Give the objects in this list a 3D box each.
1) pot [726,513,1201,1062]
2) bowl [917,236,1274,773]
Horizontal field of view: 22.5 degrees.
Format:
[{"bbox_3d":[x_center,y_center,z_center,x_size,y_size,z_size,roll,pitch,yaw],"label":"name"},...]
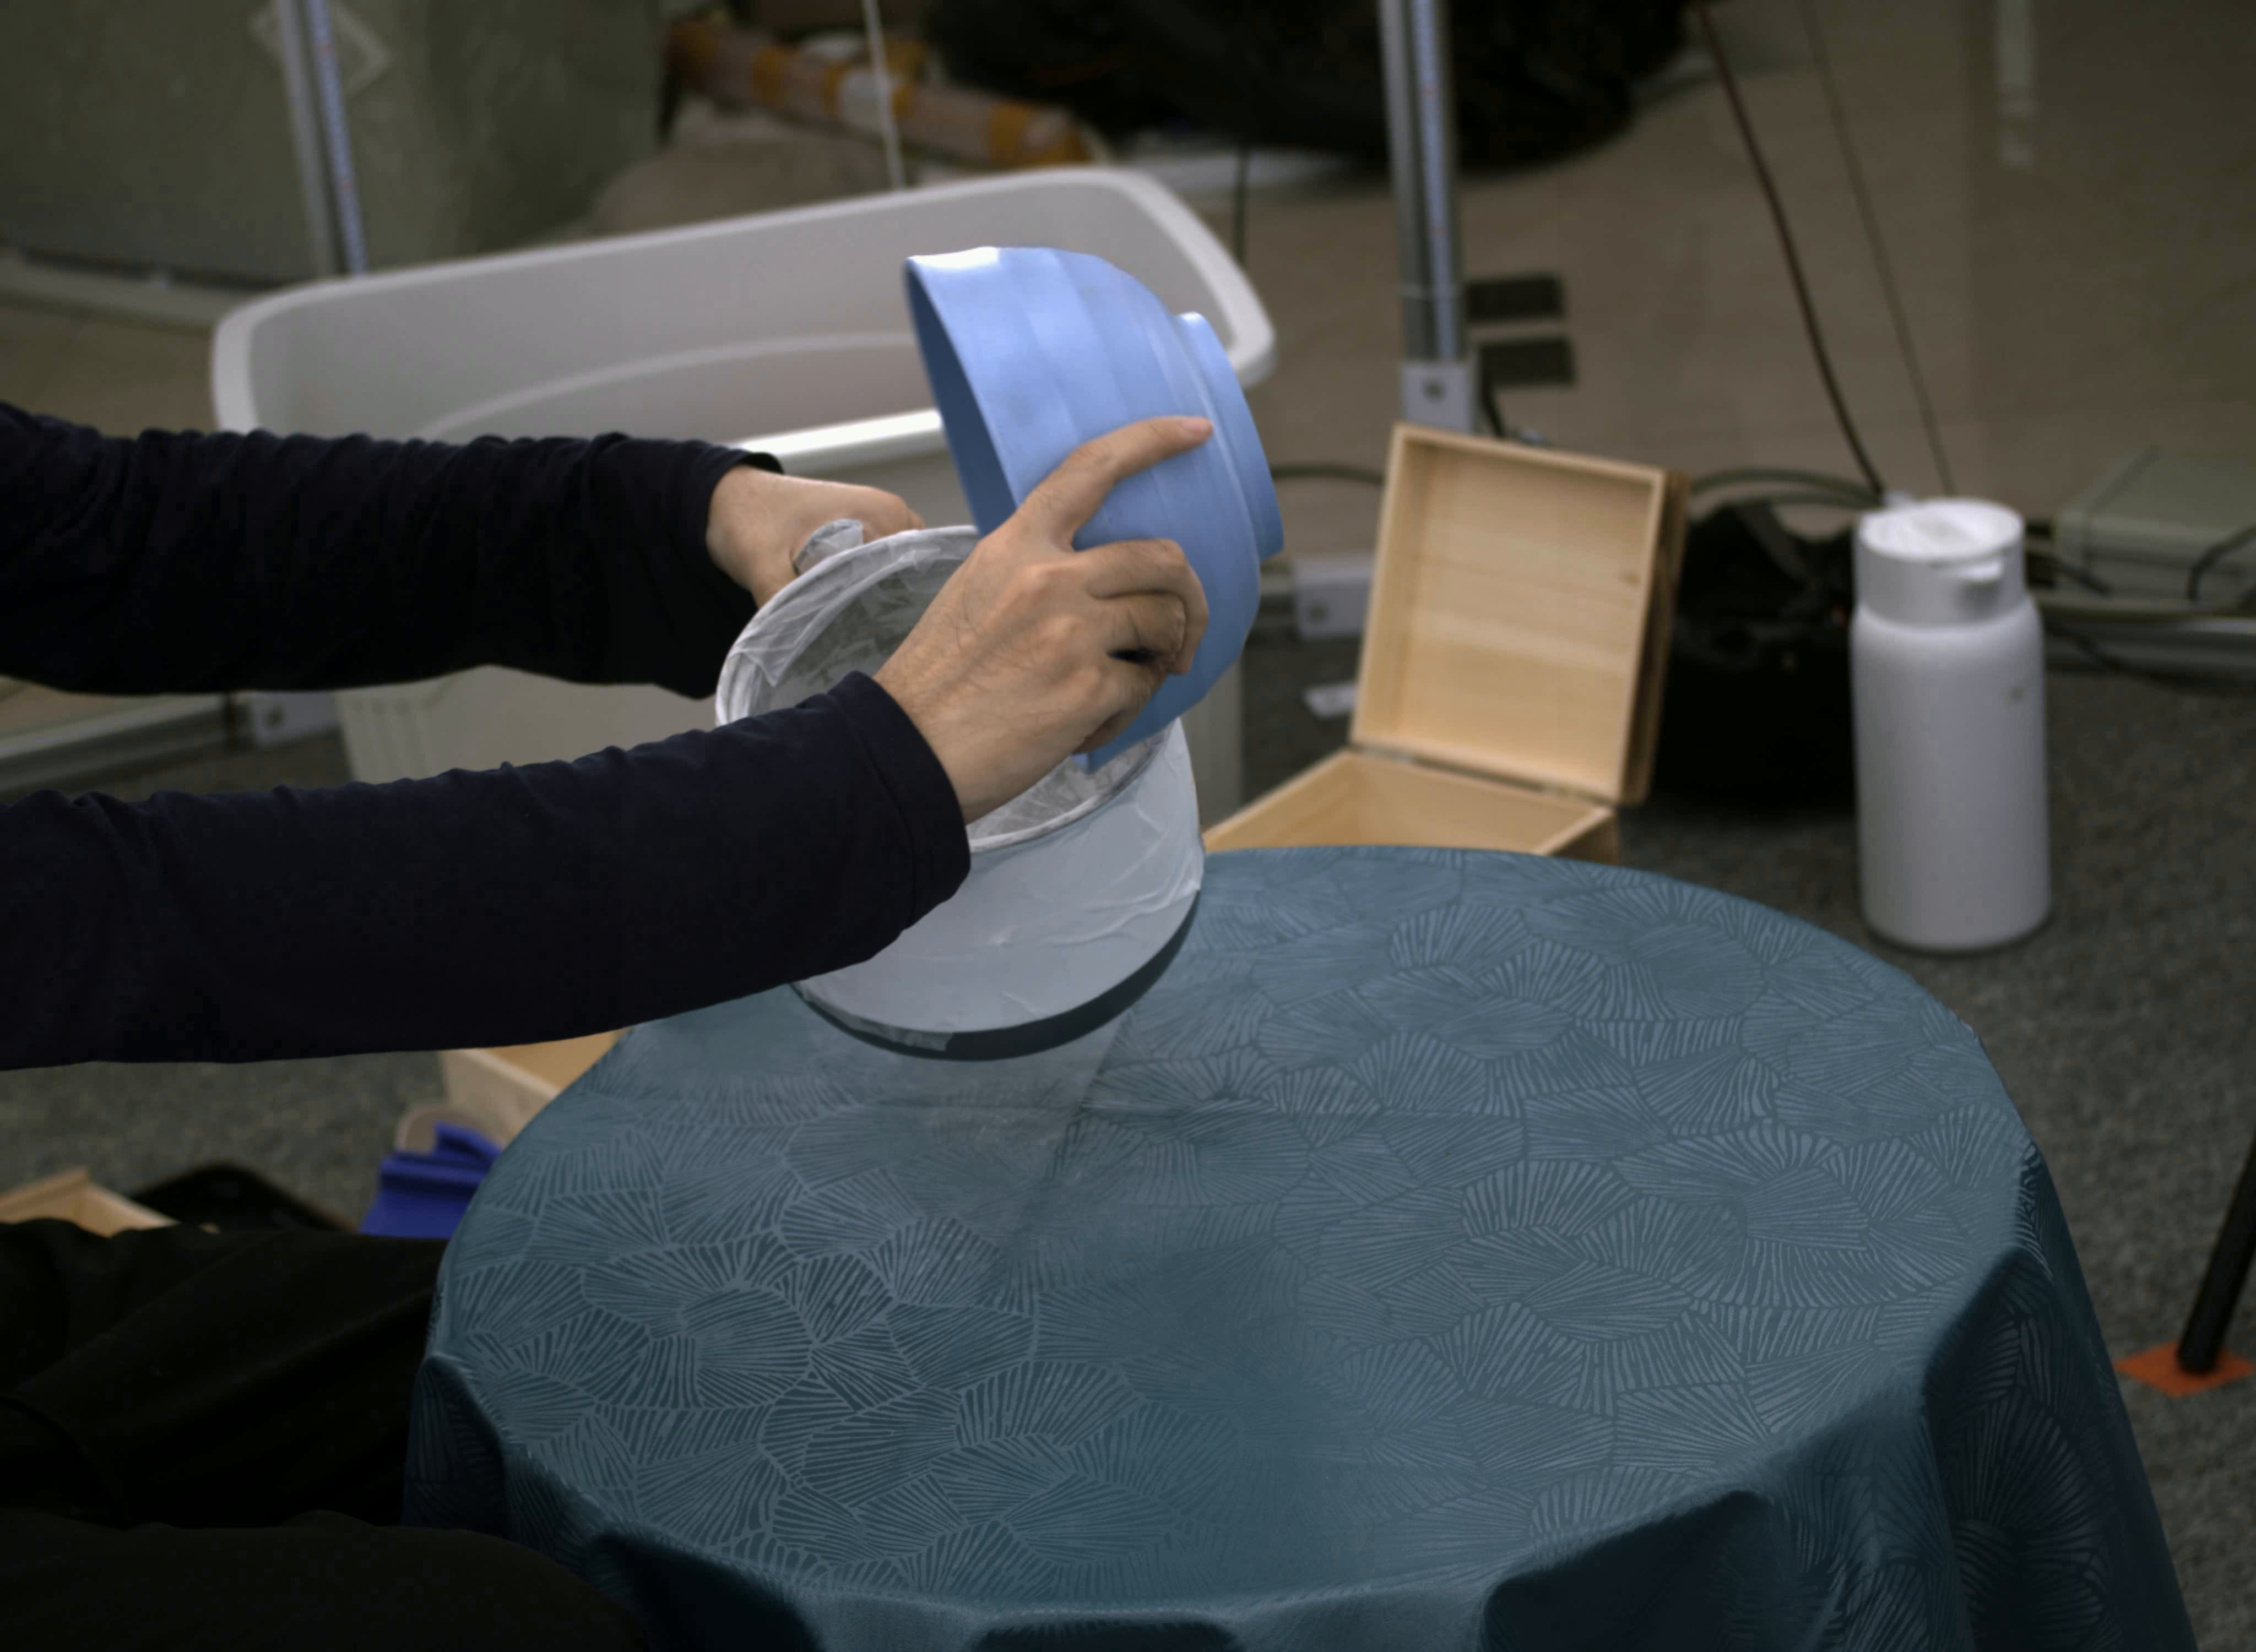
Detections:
[{"bbox_3d":[-0.074,-0.026,2.174,0.178,0.139,0.230,-23,50,-19],"label":"pot"},{"bbox_3d":[-0.005,-0.125,2.023,0.095,0.199,0.194,-14,26,-6],"label":"bowl"}]
